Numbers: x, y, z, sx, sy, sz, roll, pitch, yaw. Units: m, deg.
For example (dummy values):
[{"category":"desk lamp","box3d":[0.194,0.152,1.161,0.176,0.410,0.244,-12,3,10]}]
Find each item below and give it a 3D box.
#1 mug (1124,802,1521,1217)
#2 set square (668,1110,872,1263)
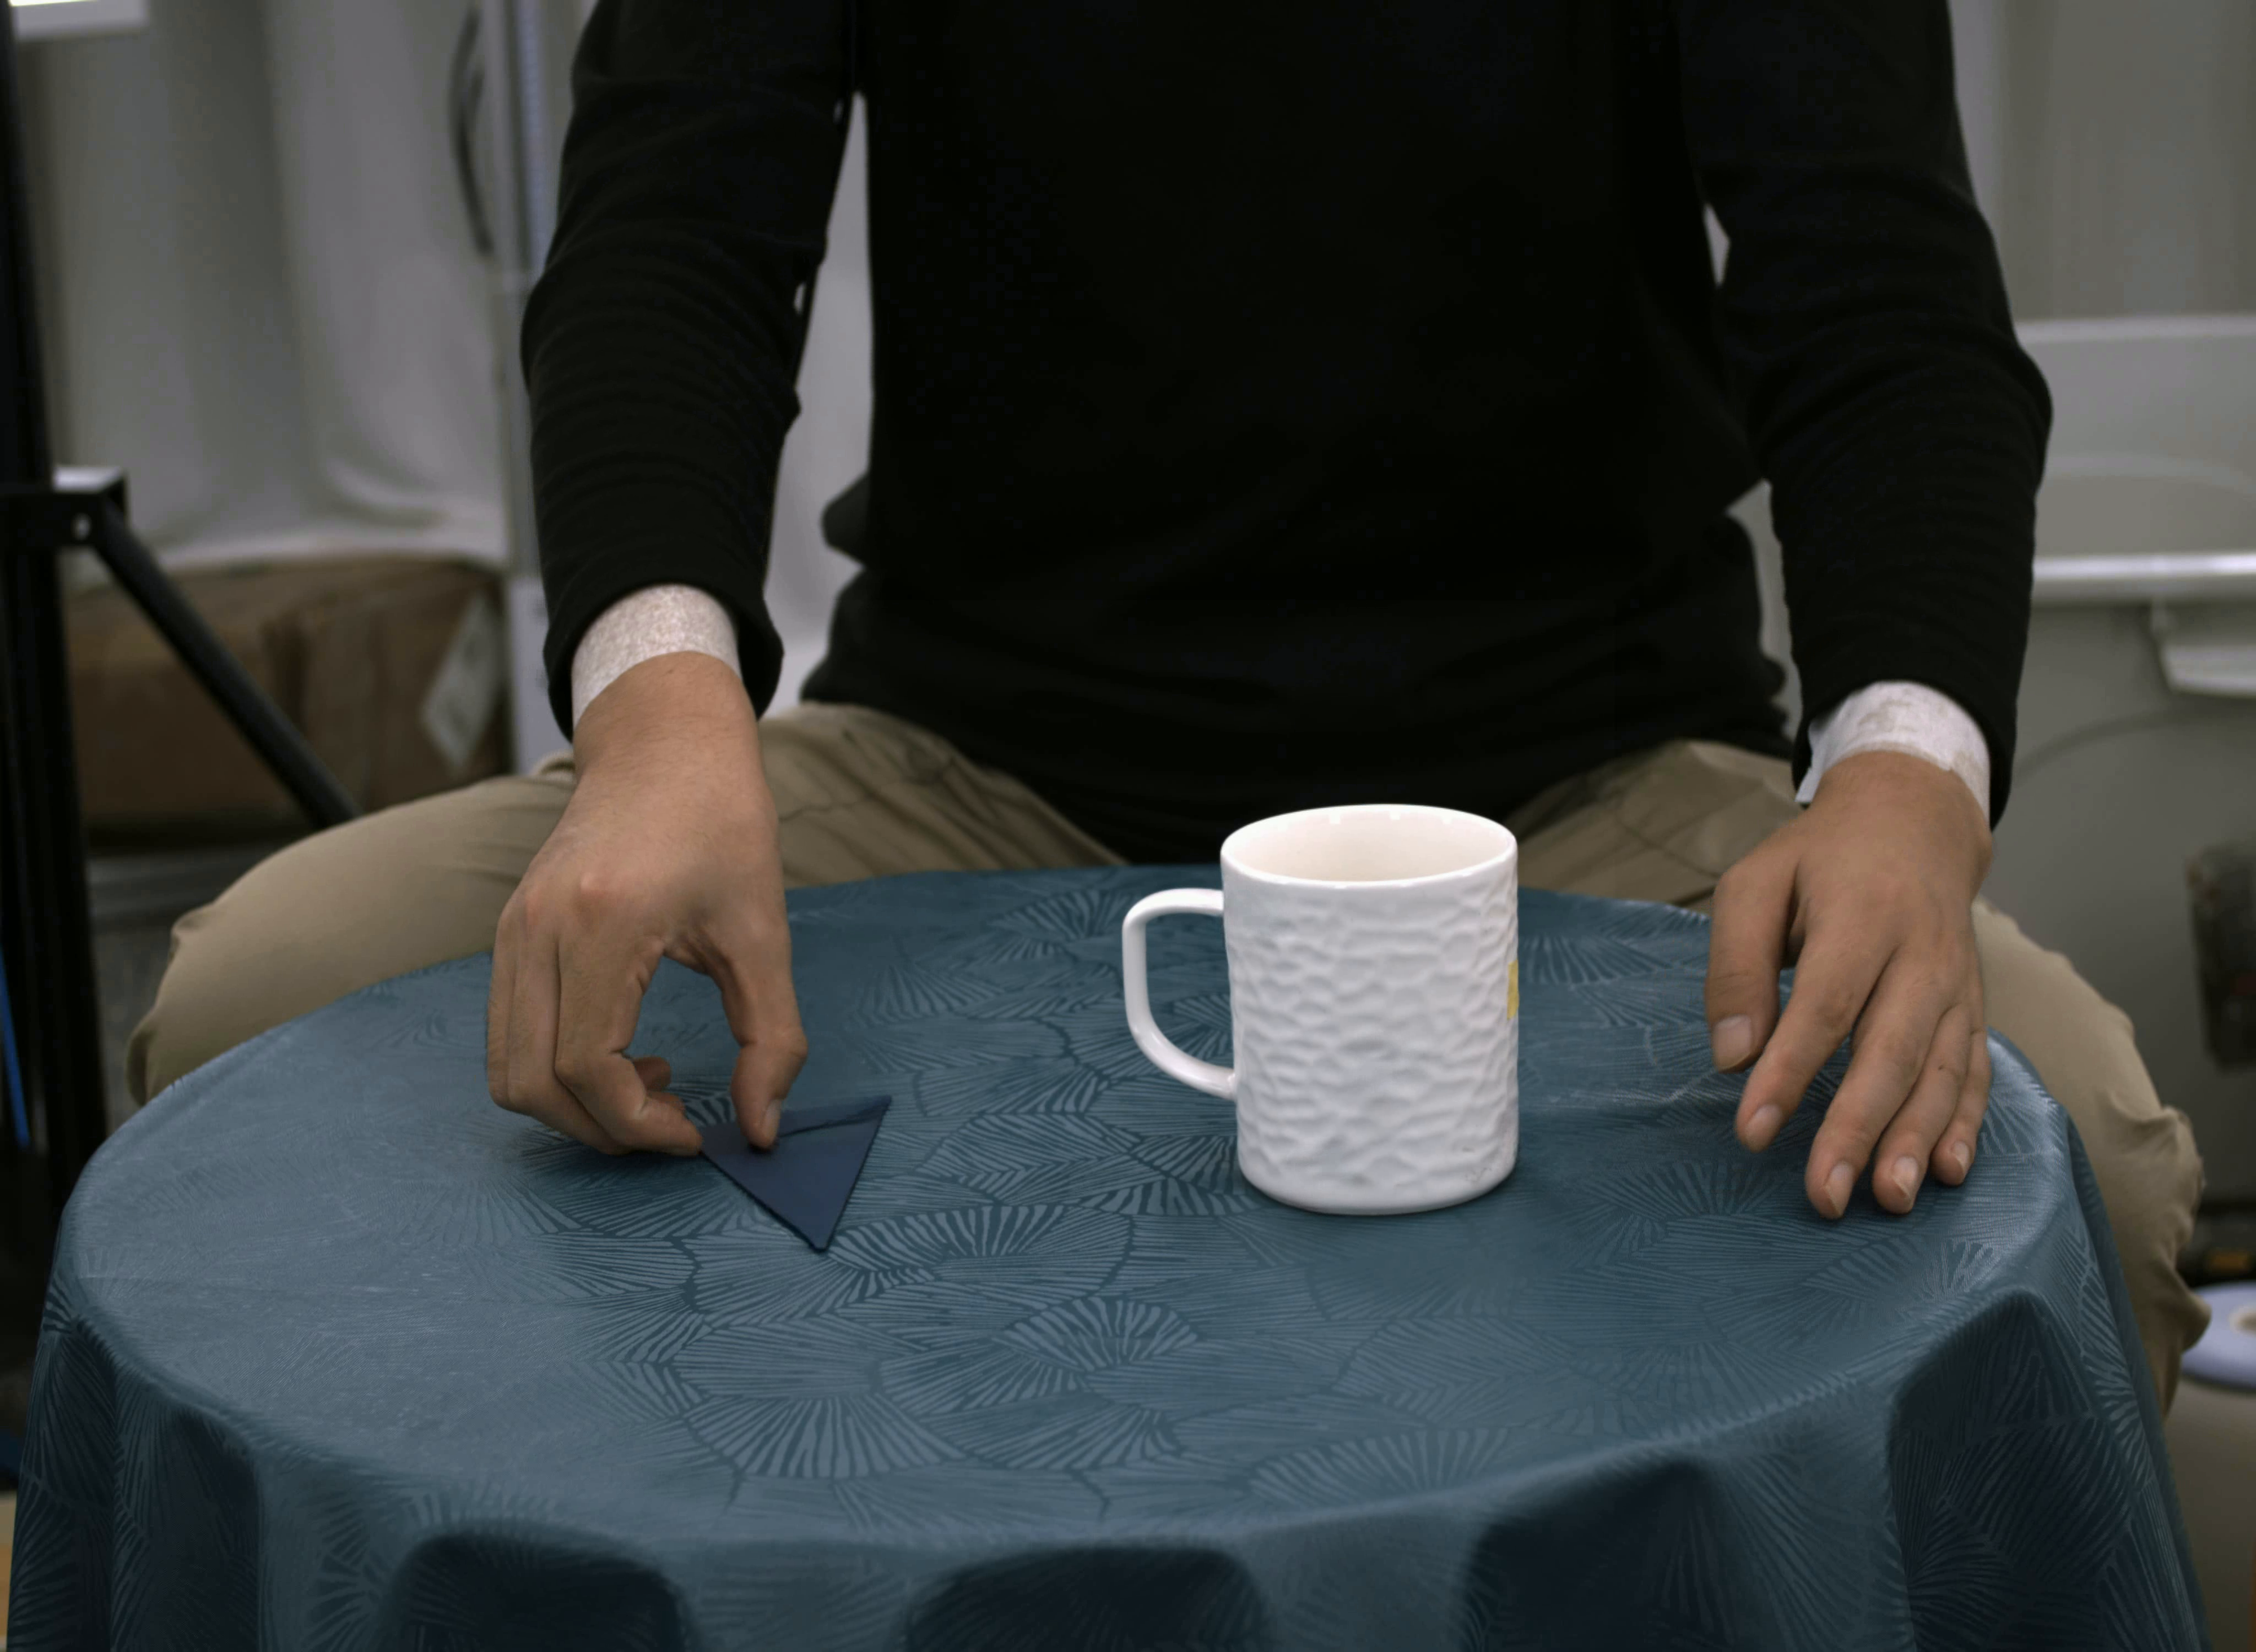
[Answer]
[{"category":"mug","box3d":[0.057,0.053,1.555,0.119,0.102,0.084,2,16,16]},{"category":"set square","box3d":[-0.117,0.105,1.582,0.061,0.006,0.131,0,16,11]}]
